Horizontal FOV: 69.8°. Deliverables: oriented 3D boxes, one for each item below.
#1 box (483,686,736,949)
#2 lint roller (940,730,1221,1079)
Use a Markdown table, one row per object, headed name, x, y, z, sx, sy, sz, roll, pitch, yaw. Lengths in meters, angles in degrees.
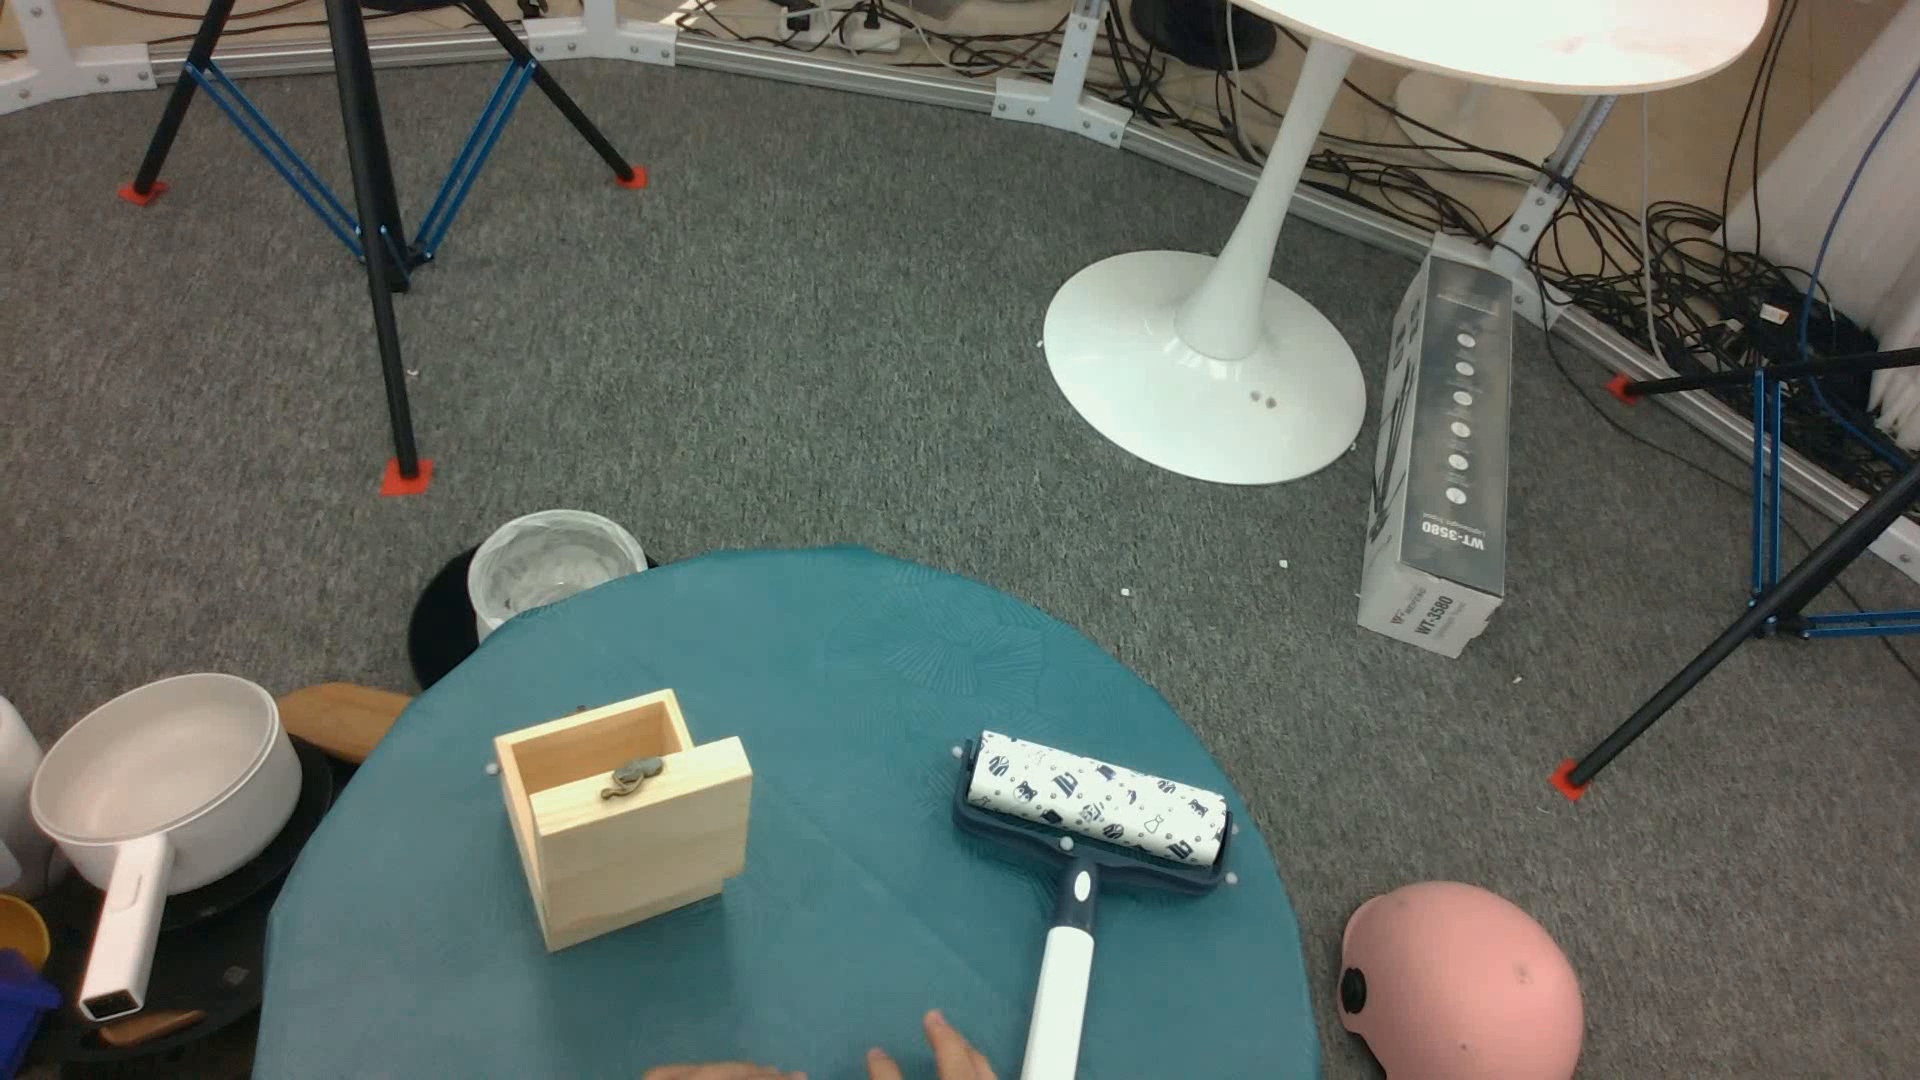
| name | x | y | z | sx | sy | sz | roll | pitch | yaw |
| --- | --- | --- | --- | --- | --- | --- | --- | --- | --- |
| box | -0.194 | 0.133 | 0.745 | 0.103 | 0.183 | 0.134 | -16 | 57 | -23 |
| lint roller | 0.060 | 0.238 | 0.809 | 0.176 | 0.050 | 0.248 | 15 | 50 | -2 |
